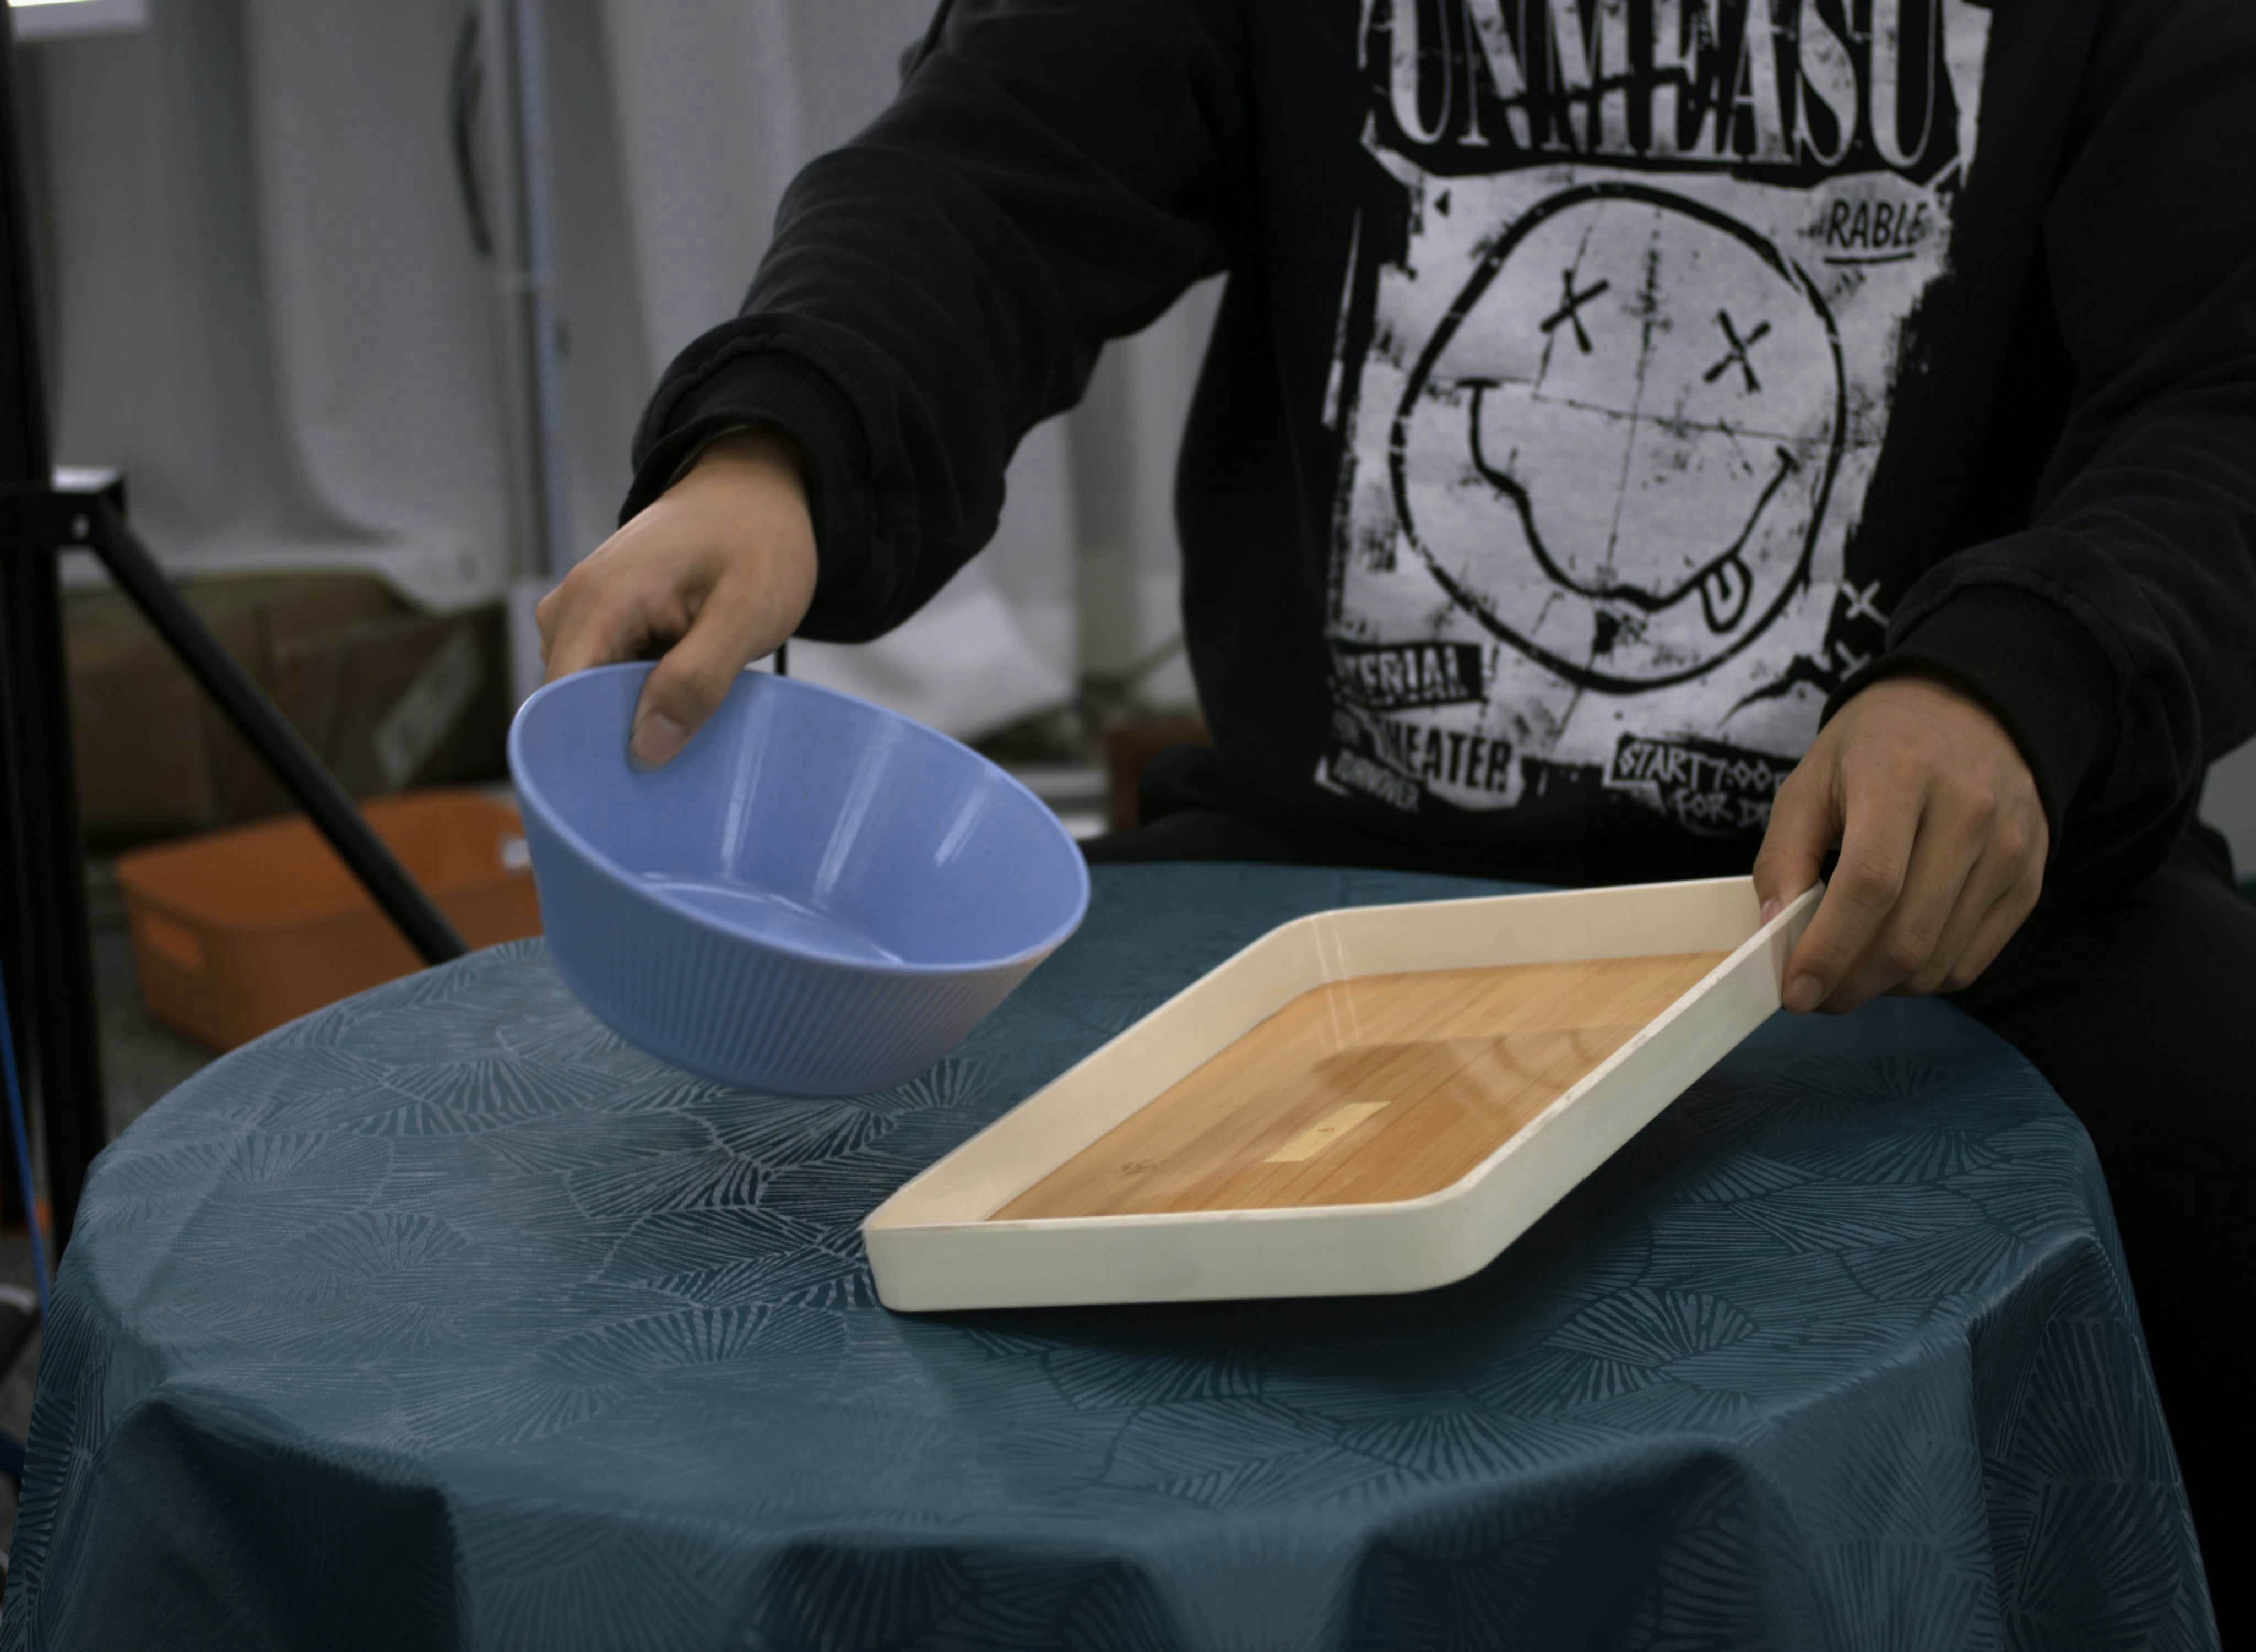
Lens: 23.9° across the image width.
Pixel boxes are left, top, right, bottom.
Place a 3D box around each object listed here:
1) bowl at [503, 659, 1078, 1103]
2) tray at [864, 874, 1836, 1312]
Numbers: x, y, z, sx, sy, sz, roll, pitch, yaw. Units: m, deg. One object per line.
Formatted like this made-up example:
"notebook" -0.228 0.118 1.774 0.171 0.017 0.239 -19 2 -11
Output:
"bowl" -0.107 0.023 1.564 0.174 0.070 0.177 15 26 -9
"tray" 0.072 0.076 1.543 0.195 0.027 0.295 -5 15 30
